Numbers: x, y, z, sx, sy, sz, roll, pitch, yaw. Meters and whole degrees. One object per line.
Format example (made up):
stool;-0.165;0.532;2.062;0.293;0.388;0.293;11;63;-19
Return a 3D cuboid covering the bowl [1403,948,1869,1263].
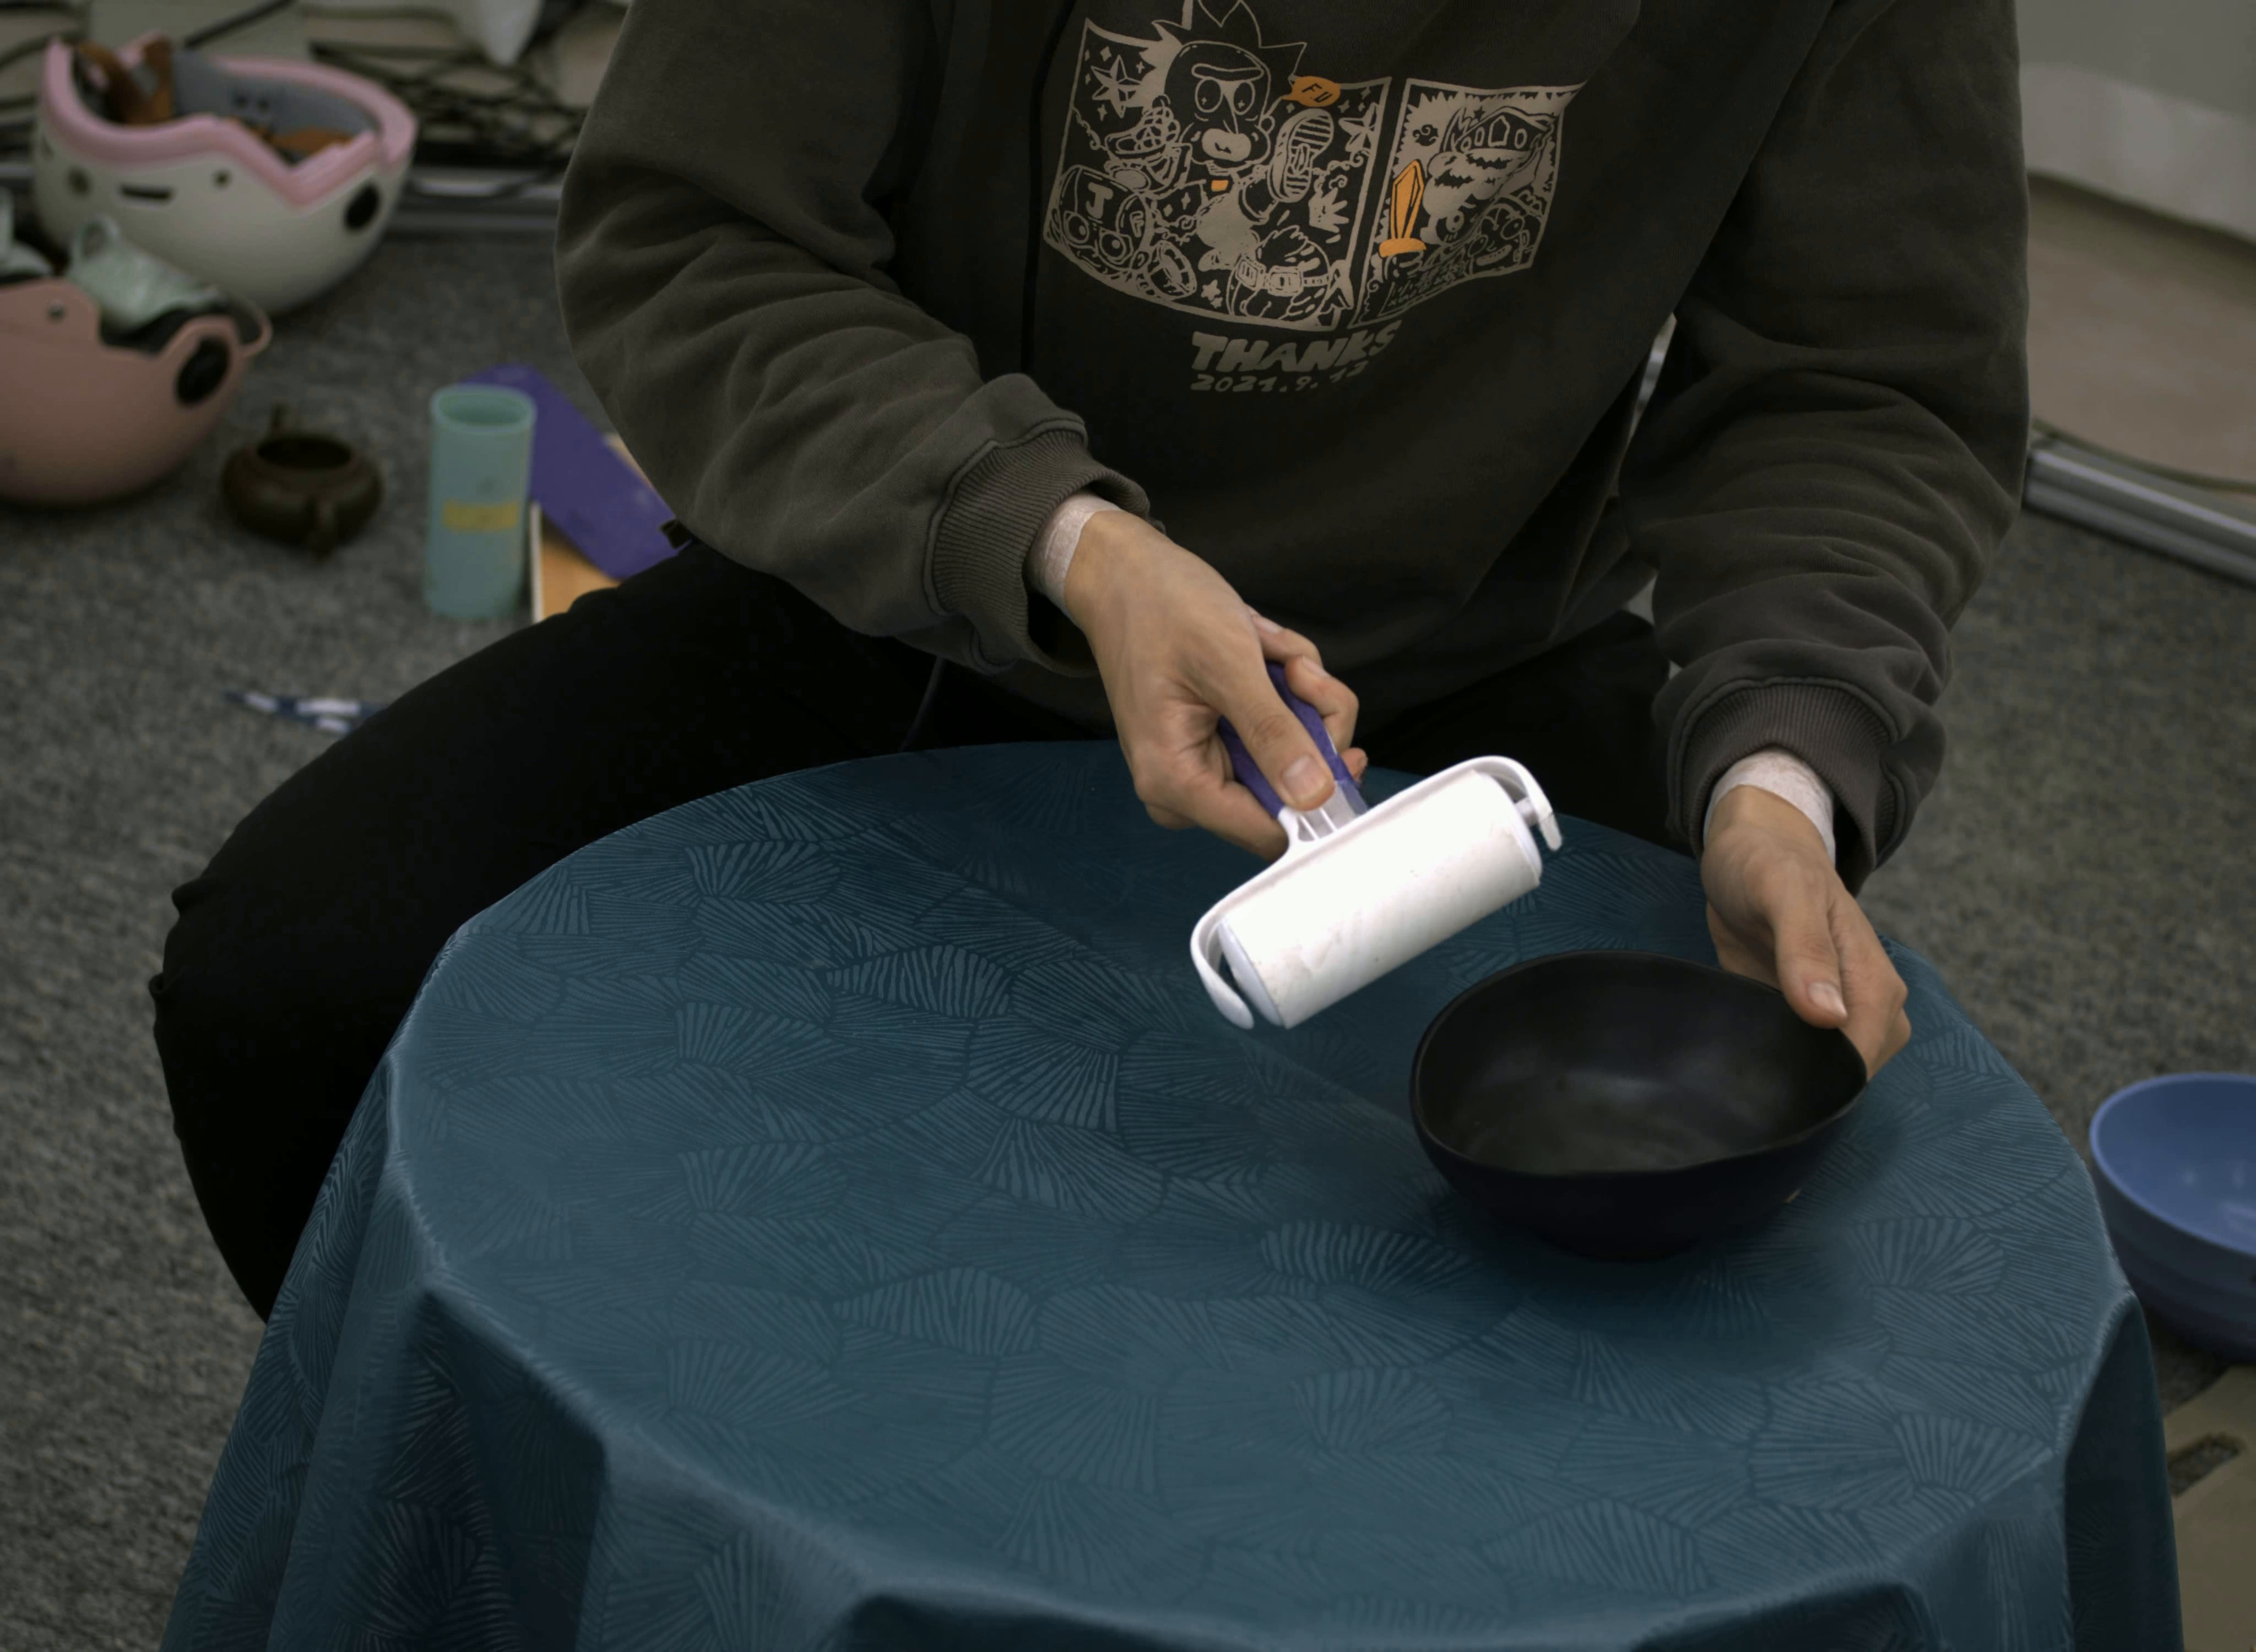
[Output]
bowl;0.171;0.105;1.809;0.169;0.066;0.138;-16;33;-34

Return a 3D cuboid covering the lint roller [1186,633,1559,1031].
lint roller;0.061;-0.018;1.846;0.133;0.050;0.182;-29;50;0
